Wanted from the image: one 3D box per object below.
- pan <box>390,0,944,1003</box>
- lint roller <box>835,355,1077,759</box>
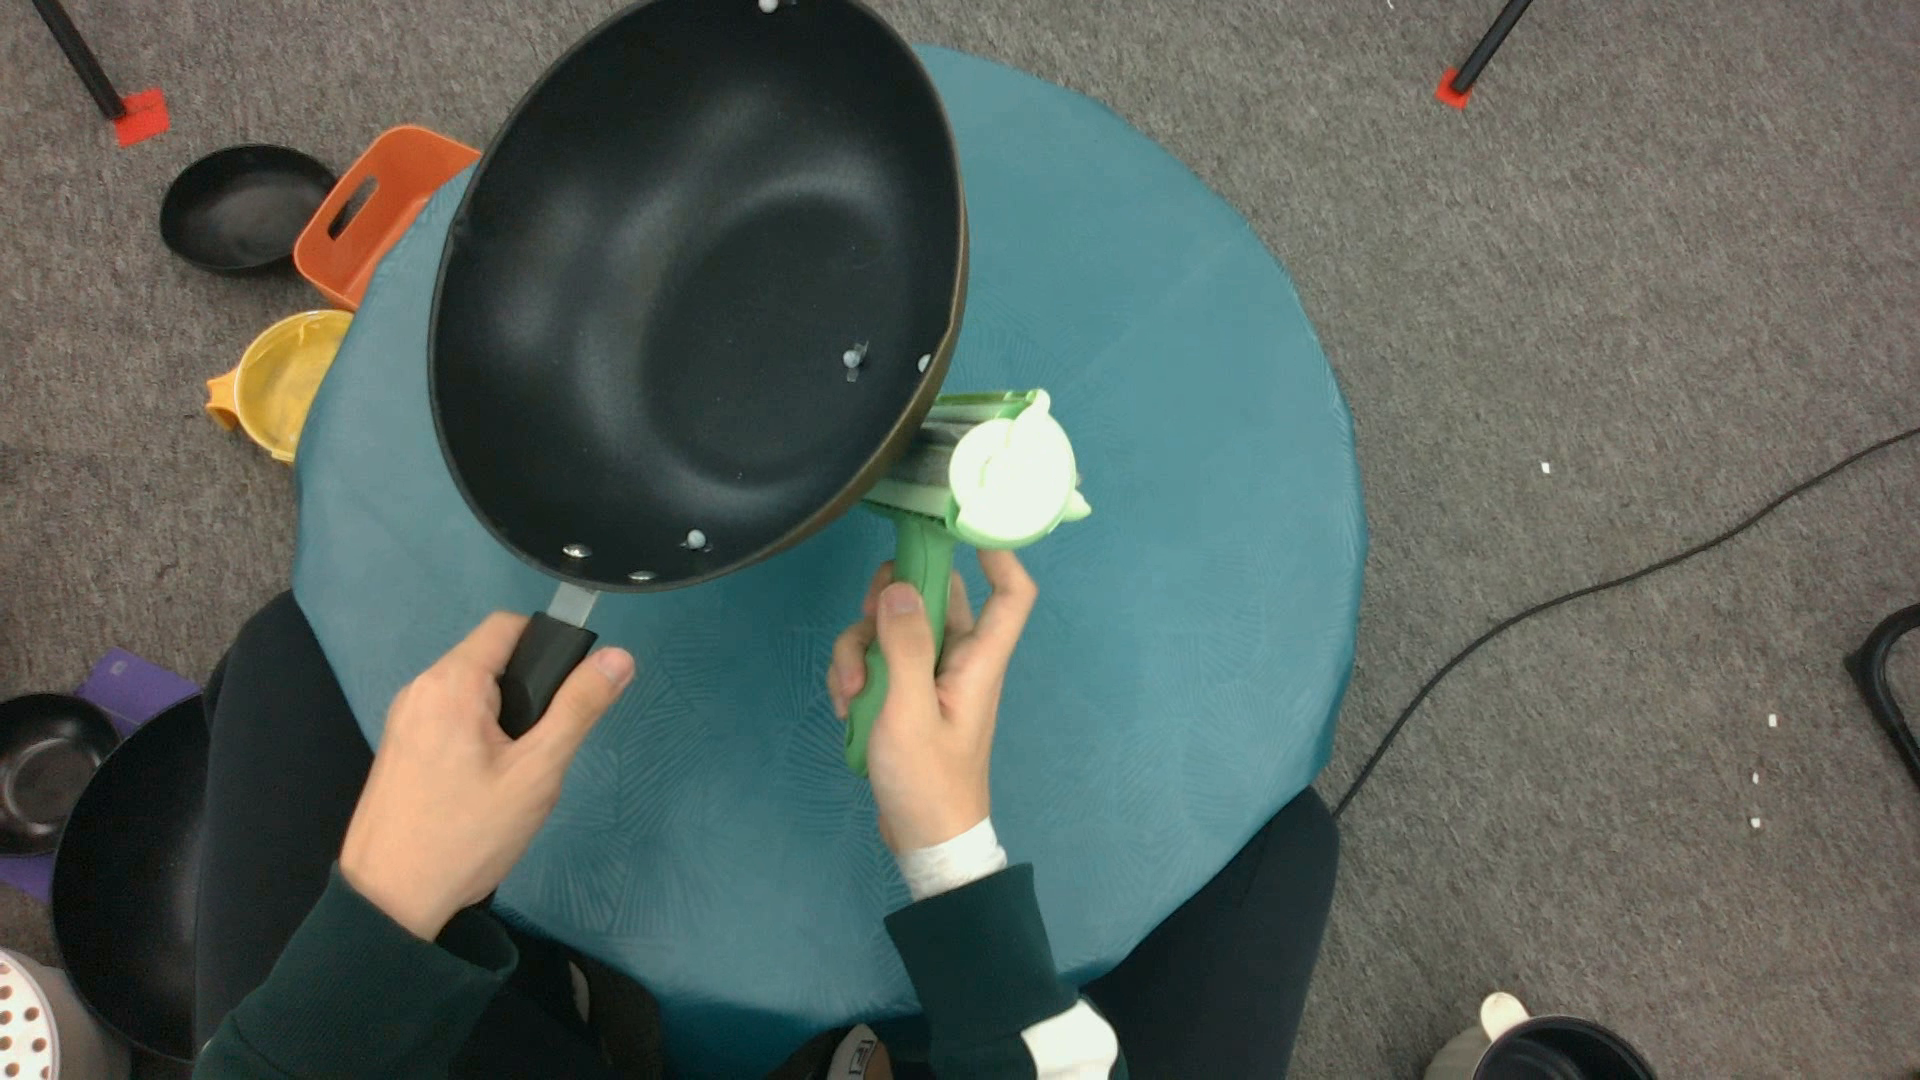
[{"bbox_3d":[-0.145,-0.022,0.618,0.288,0.087,0.463,15,86,28],"label":"pan"},{"bbox_3d":[-0.010,0.010,0.630,0.082,0.198,0.183,2,95,-18],"label":"lint roller"}]
